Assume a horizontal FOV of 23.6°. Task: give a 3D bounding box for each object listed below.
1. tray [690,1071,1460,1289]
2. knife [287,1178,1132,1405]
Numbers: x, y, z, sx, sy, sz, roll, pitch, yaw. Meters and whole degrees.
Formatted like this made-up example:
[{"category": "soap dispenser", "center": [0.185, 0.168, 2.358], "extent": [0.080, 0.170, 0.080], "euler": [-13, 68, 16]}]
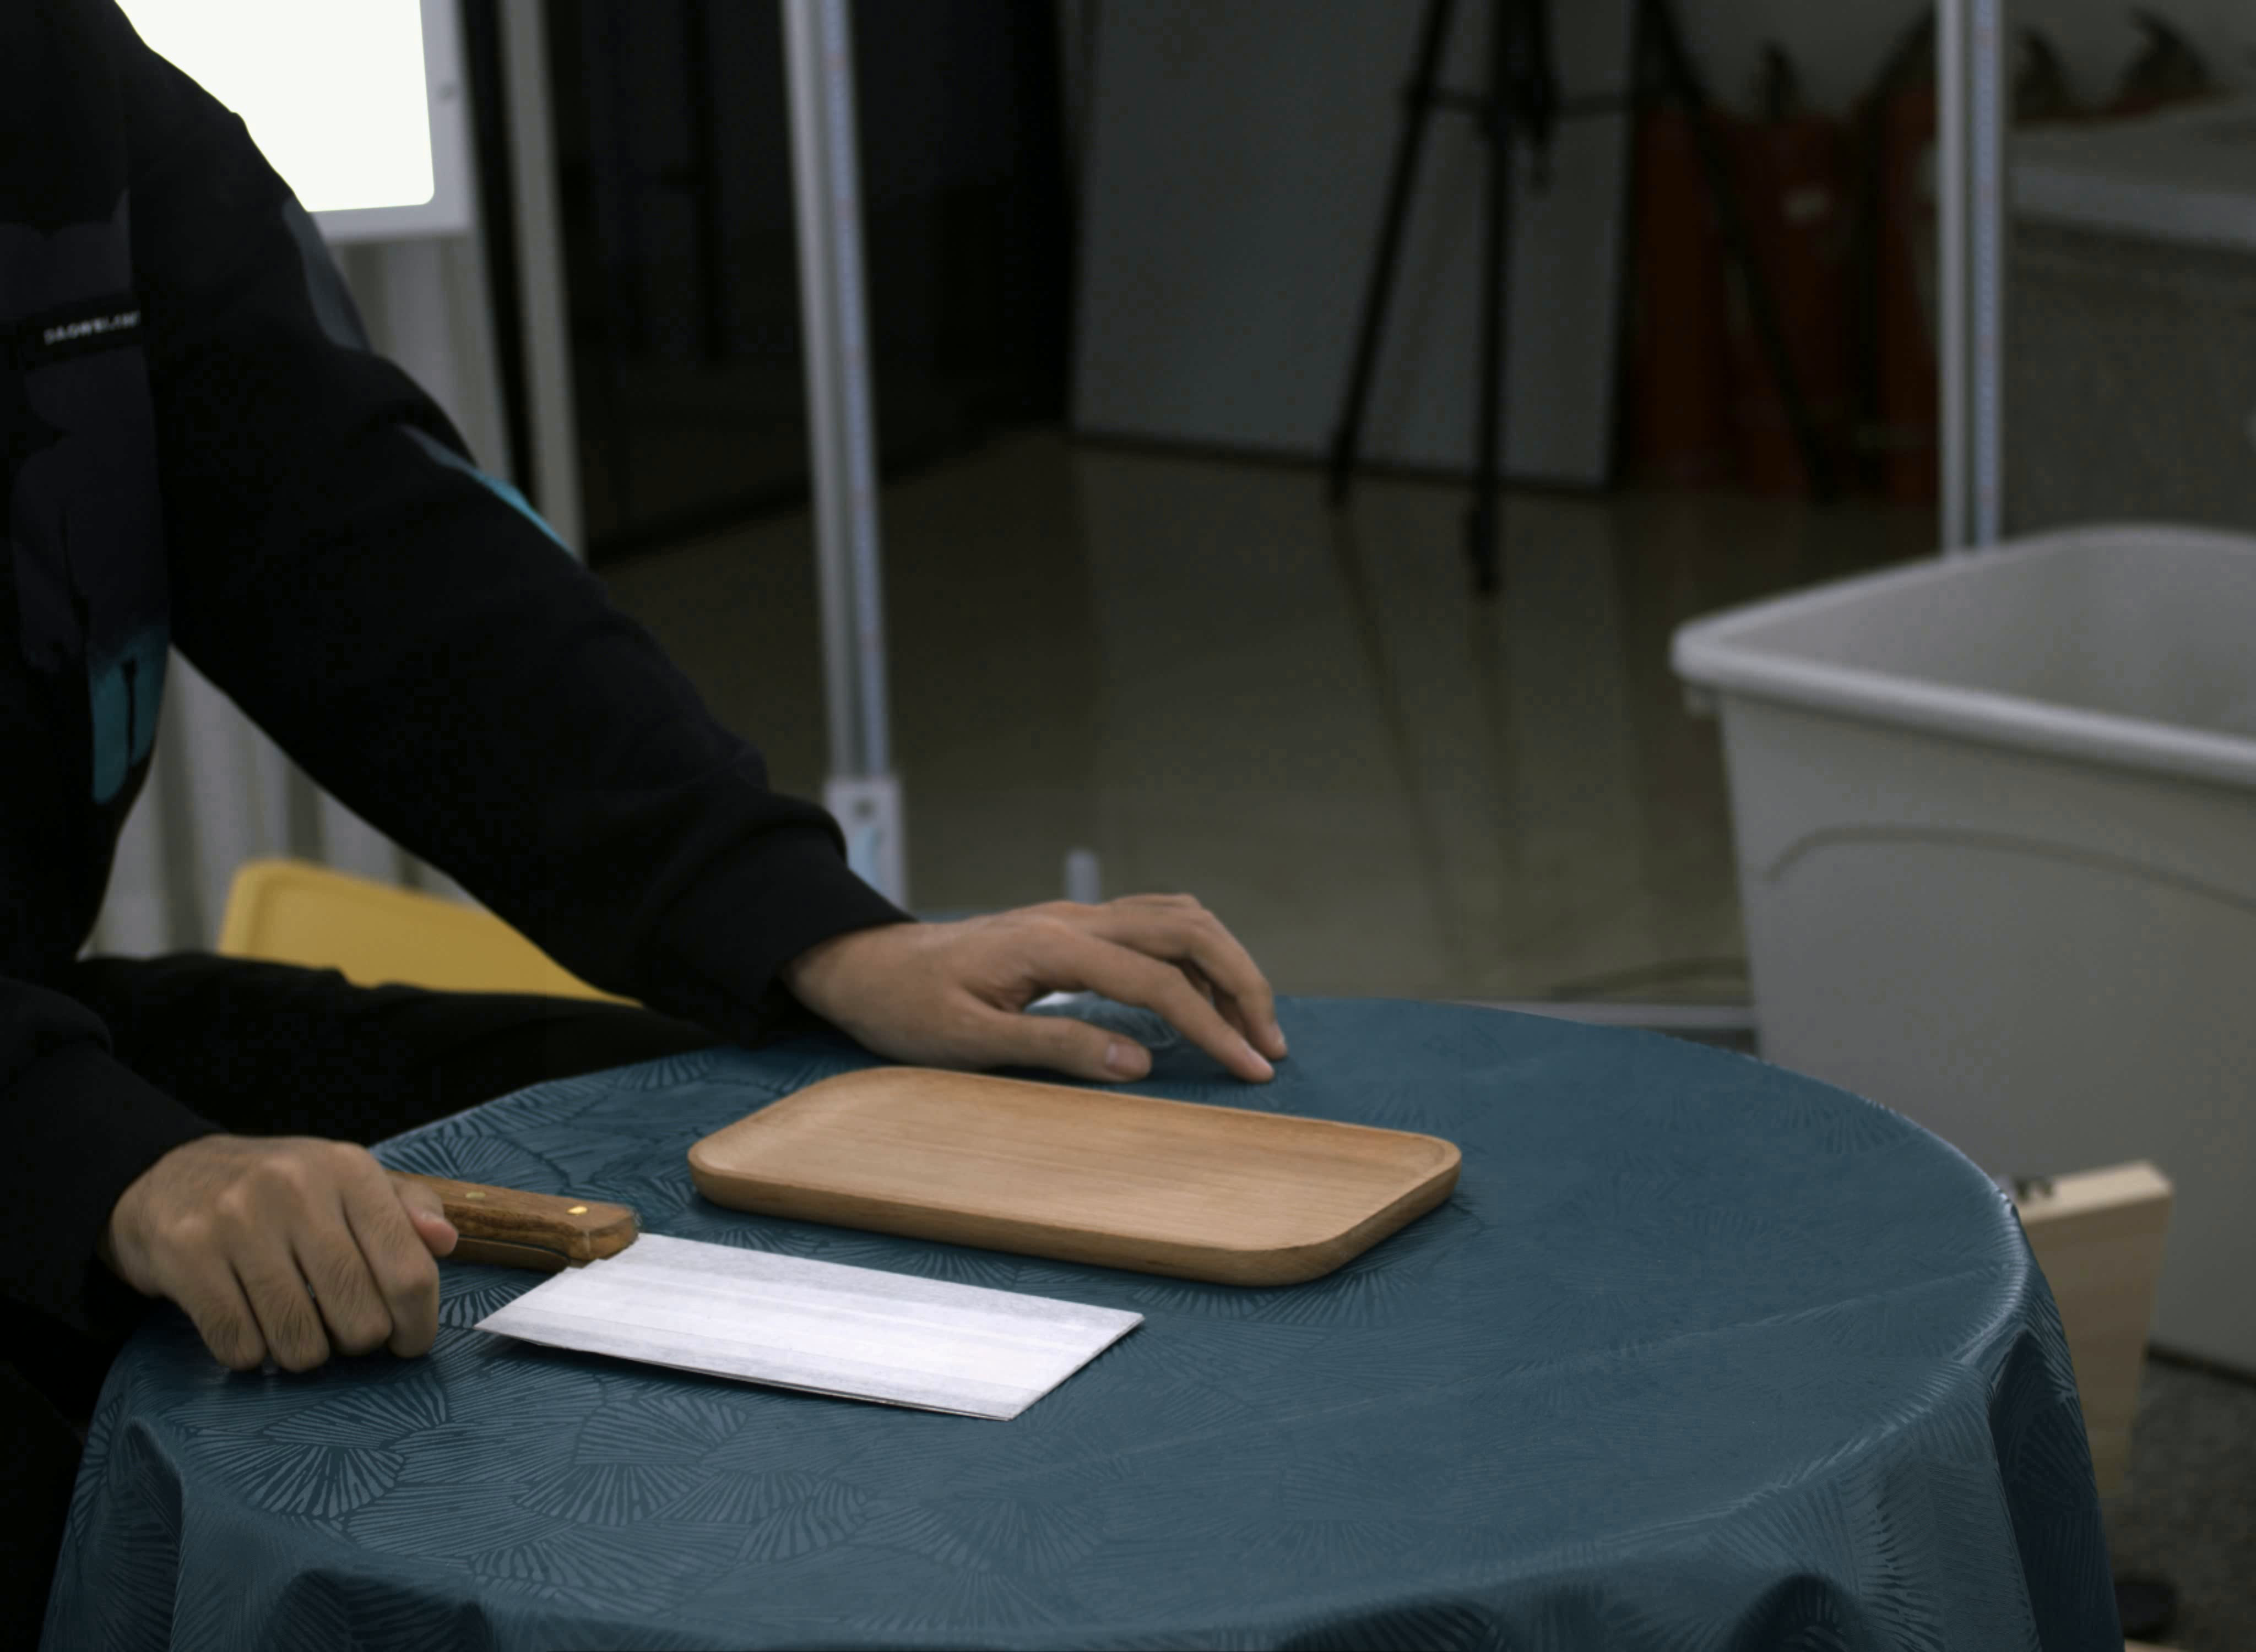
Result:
[{"category": "tray", "center": [-0.019, 0.115, 1.770], "extent": [0.252, 0.023, 0.128], "euler": [4, 14, 35]}, {"category": "knife", "center": [-0.147, 0.147, 1.679], "extent": [0.307, 0.021, 0.091], "euler": [6, 19, 29]}]
